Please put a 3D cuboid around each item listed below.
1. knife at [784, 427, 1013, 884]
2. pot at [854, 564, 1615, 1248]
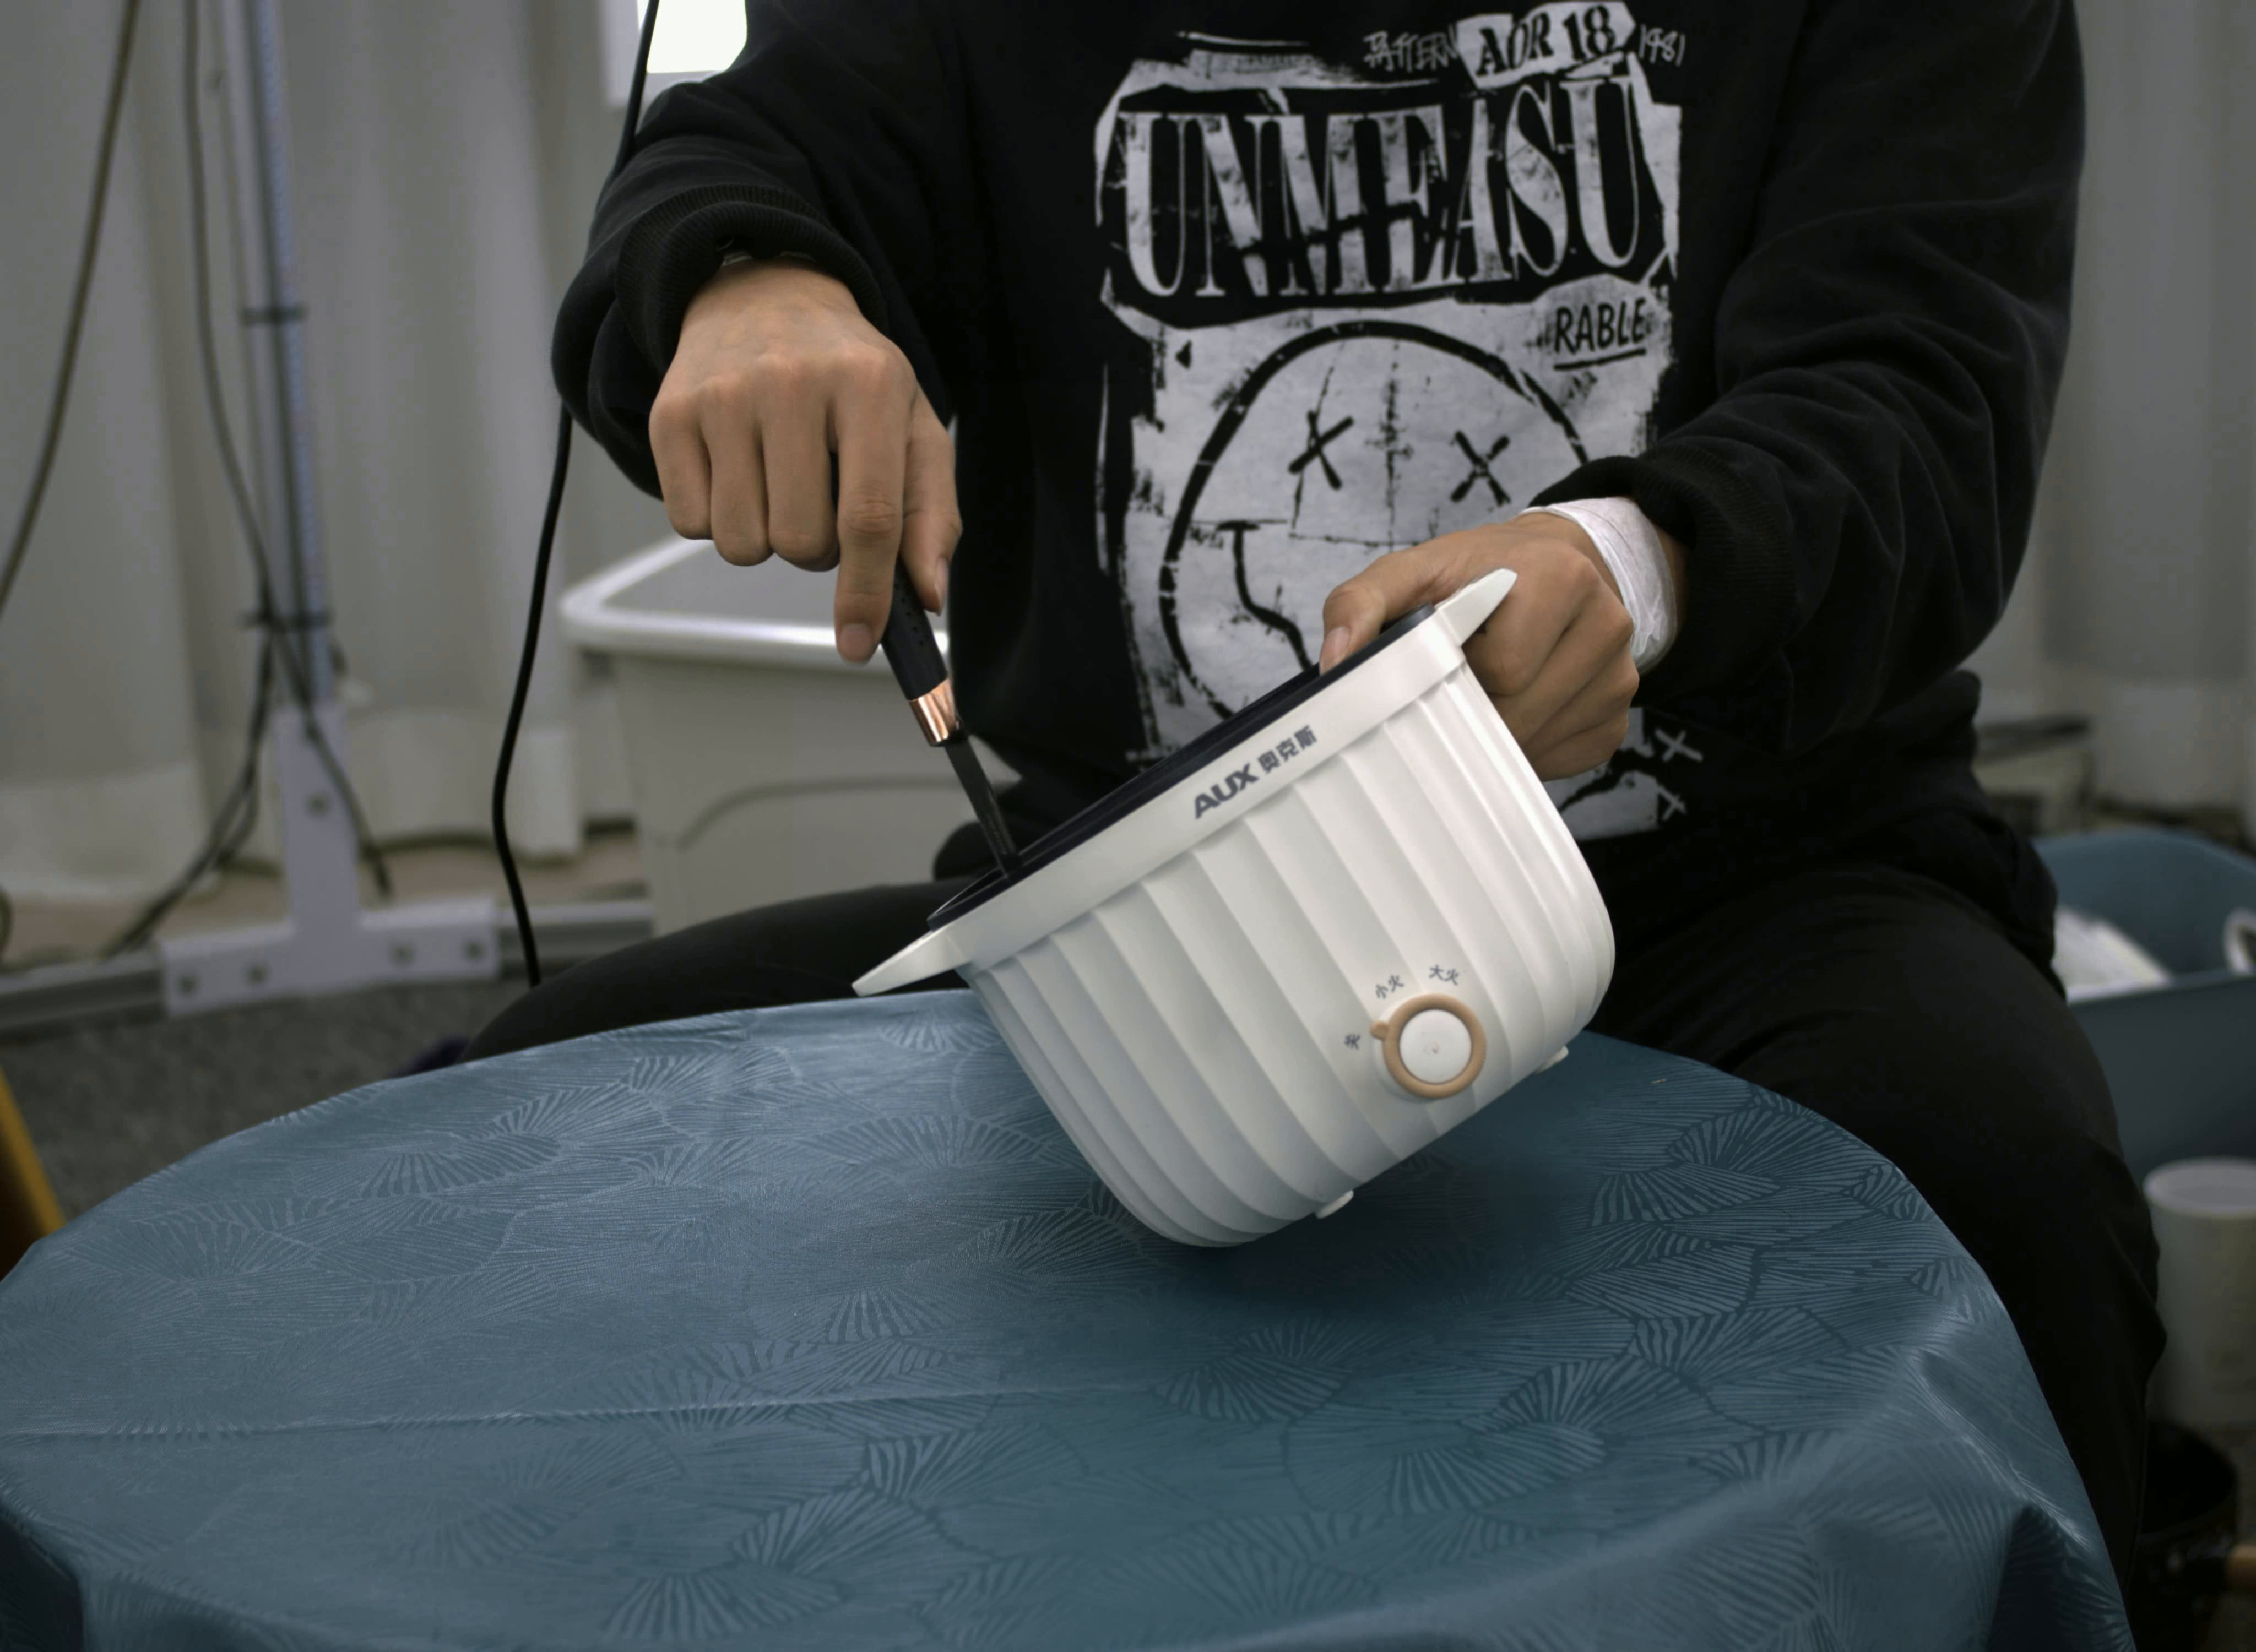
[{"bbox_3d":[-0.055,-0.023,1.704,0.017,0.227,0.026,-26,-9,3],"label":"knife"},{"bbox_3d":[0.053,0.035,1.645,0.240,0.143,0.190,-34,-2,-11],"label":"pot"}]
